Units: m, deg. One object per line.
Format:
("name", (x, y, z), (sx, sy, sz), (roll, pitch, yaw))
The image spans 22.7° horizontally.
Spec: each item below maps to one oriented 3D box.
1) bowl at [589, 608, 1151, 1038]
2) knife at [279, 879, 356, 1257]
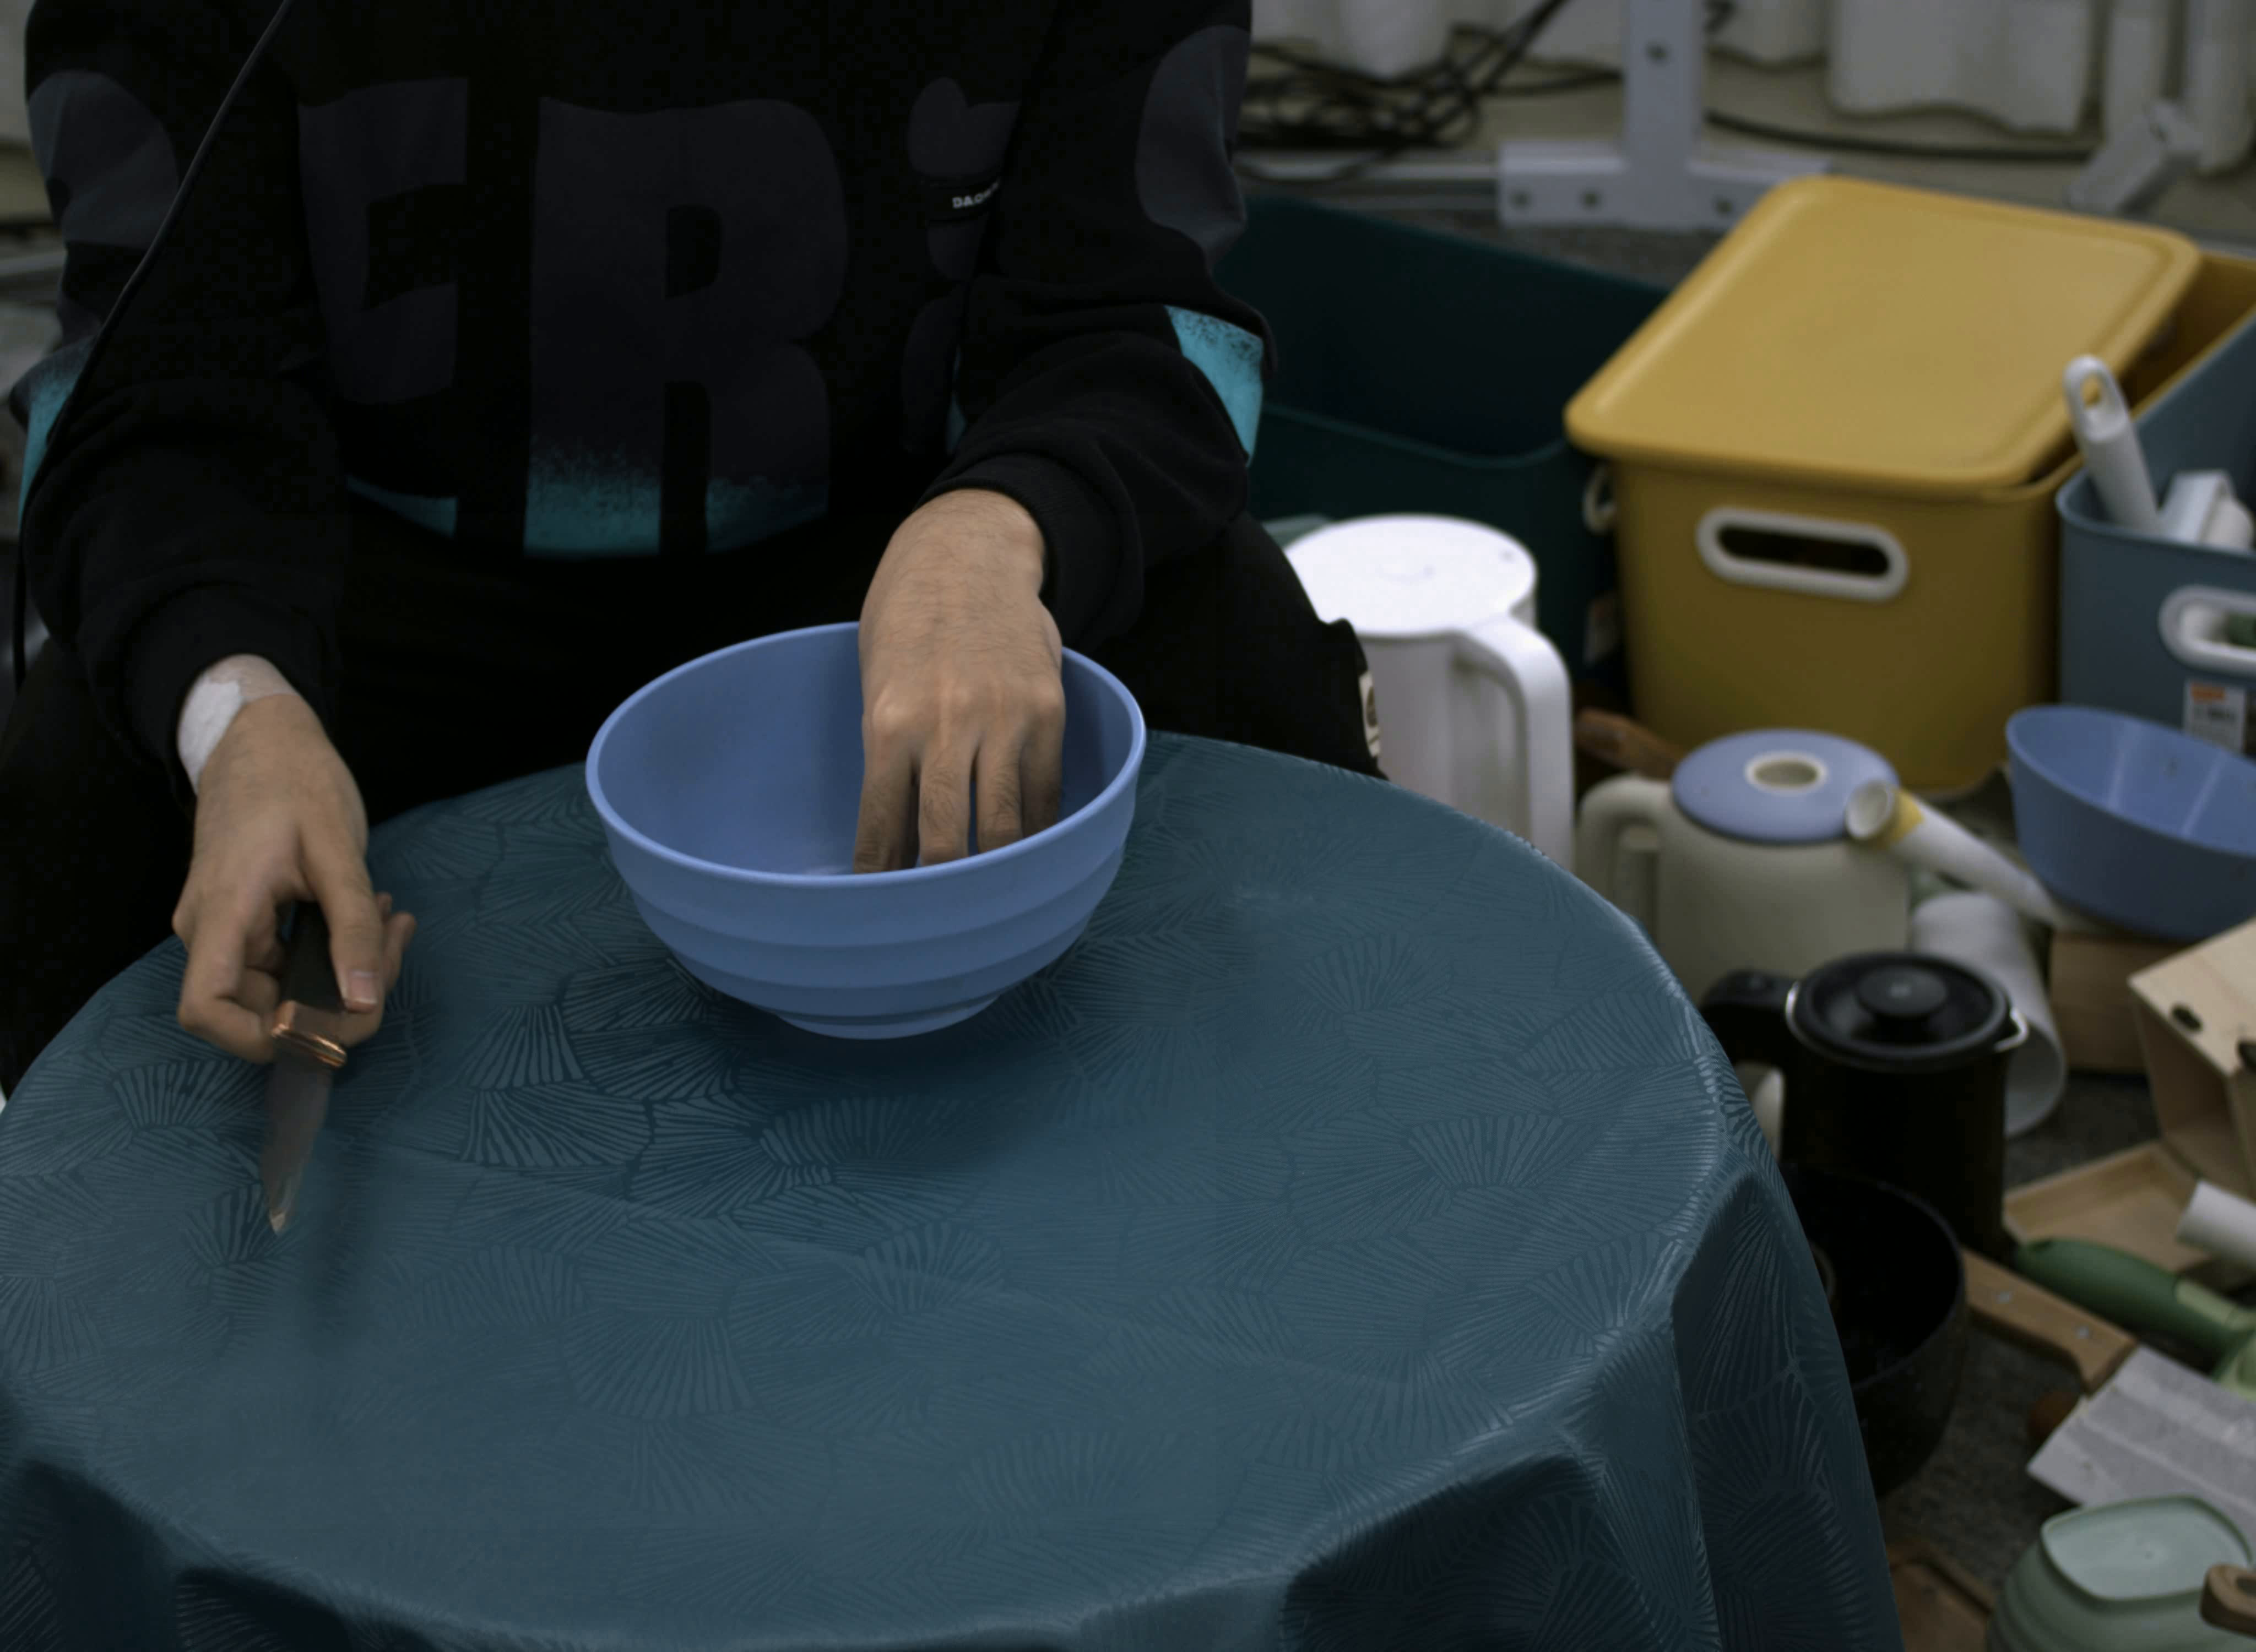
("bowl", (-0.088, 0.011, 1.977), (0.195, 0.094, 0.200), (-1, 30, 1))
("knife", (-0.274, 0.080, 1.893), (0.026, 0.017, 0.229), (20, 25, -16))
